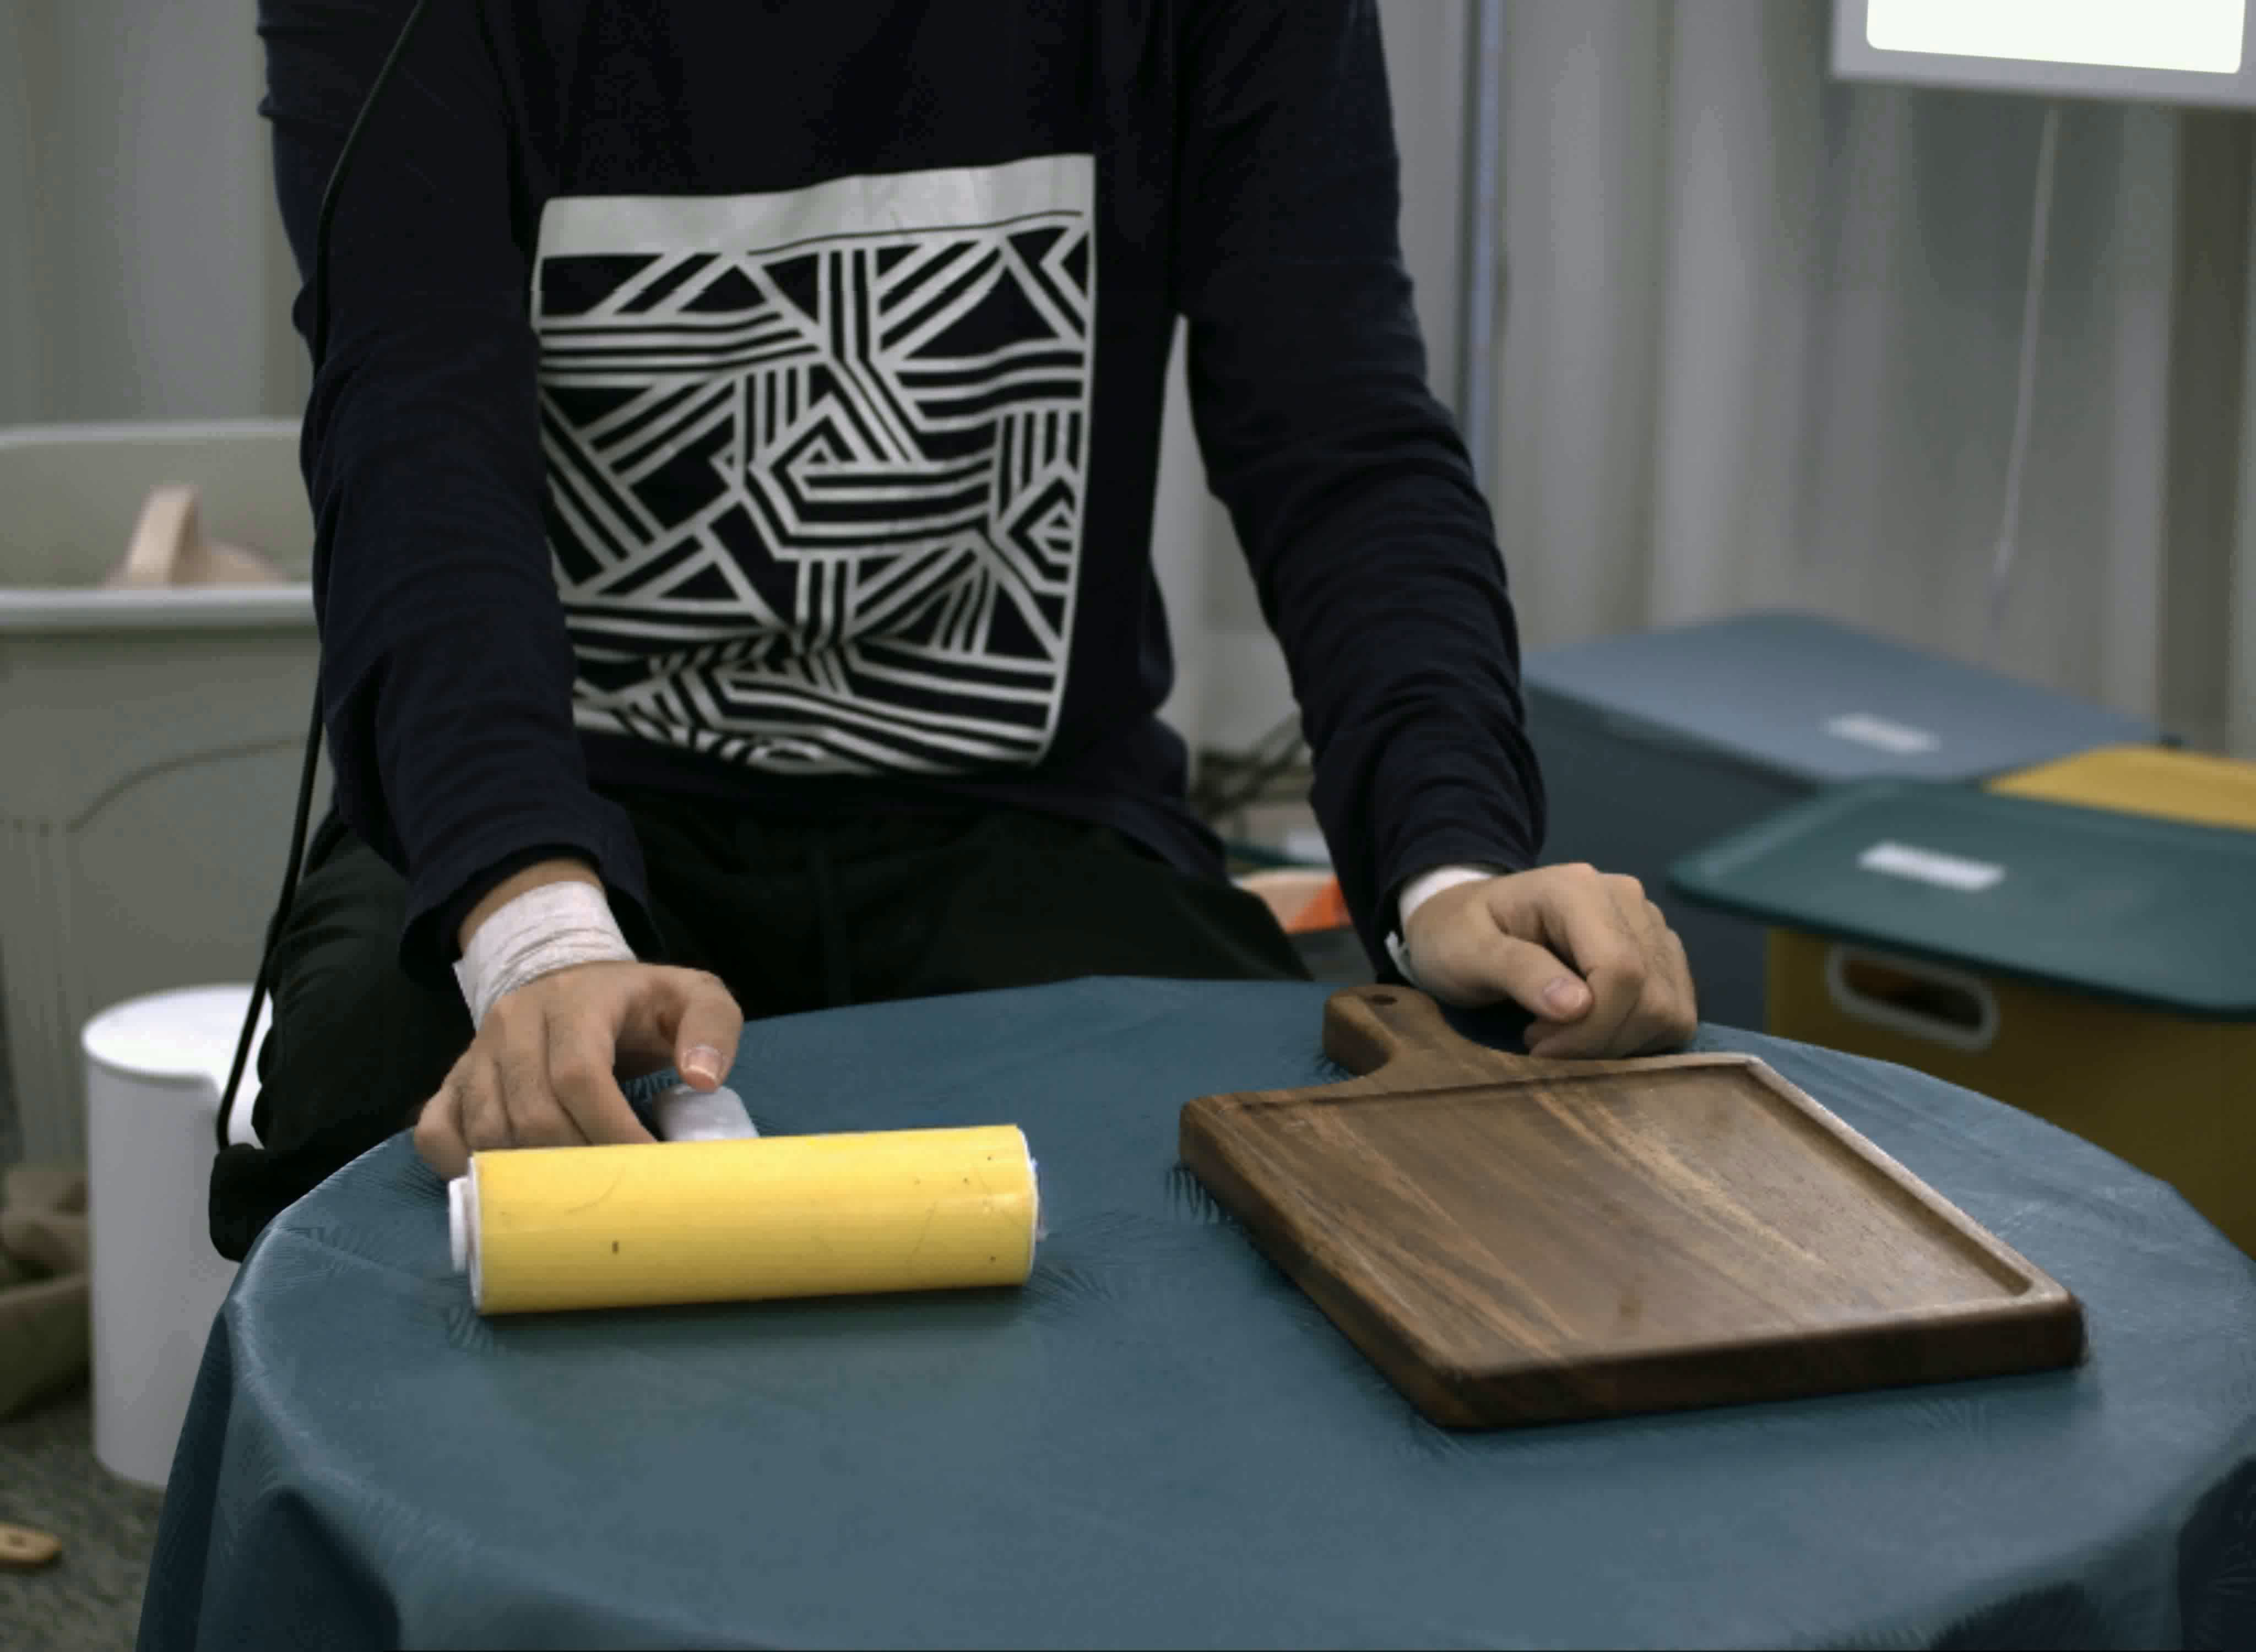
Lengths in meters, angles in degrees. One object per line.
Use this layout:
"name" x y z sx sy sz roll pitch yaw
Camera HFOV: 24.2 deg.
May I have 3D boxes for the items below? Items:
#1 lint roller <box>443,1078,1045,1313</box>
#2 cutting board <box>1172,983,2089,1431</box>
"lint roller" -0.125 0.094 1.591 0.174 0.052 0.190 -2 18 -12
"cutting board" 0.128 0.106 1.613 0.201 0.023 0.348 -4 16 -17
